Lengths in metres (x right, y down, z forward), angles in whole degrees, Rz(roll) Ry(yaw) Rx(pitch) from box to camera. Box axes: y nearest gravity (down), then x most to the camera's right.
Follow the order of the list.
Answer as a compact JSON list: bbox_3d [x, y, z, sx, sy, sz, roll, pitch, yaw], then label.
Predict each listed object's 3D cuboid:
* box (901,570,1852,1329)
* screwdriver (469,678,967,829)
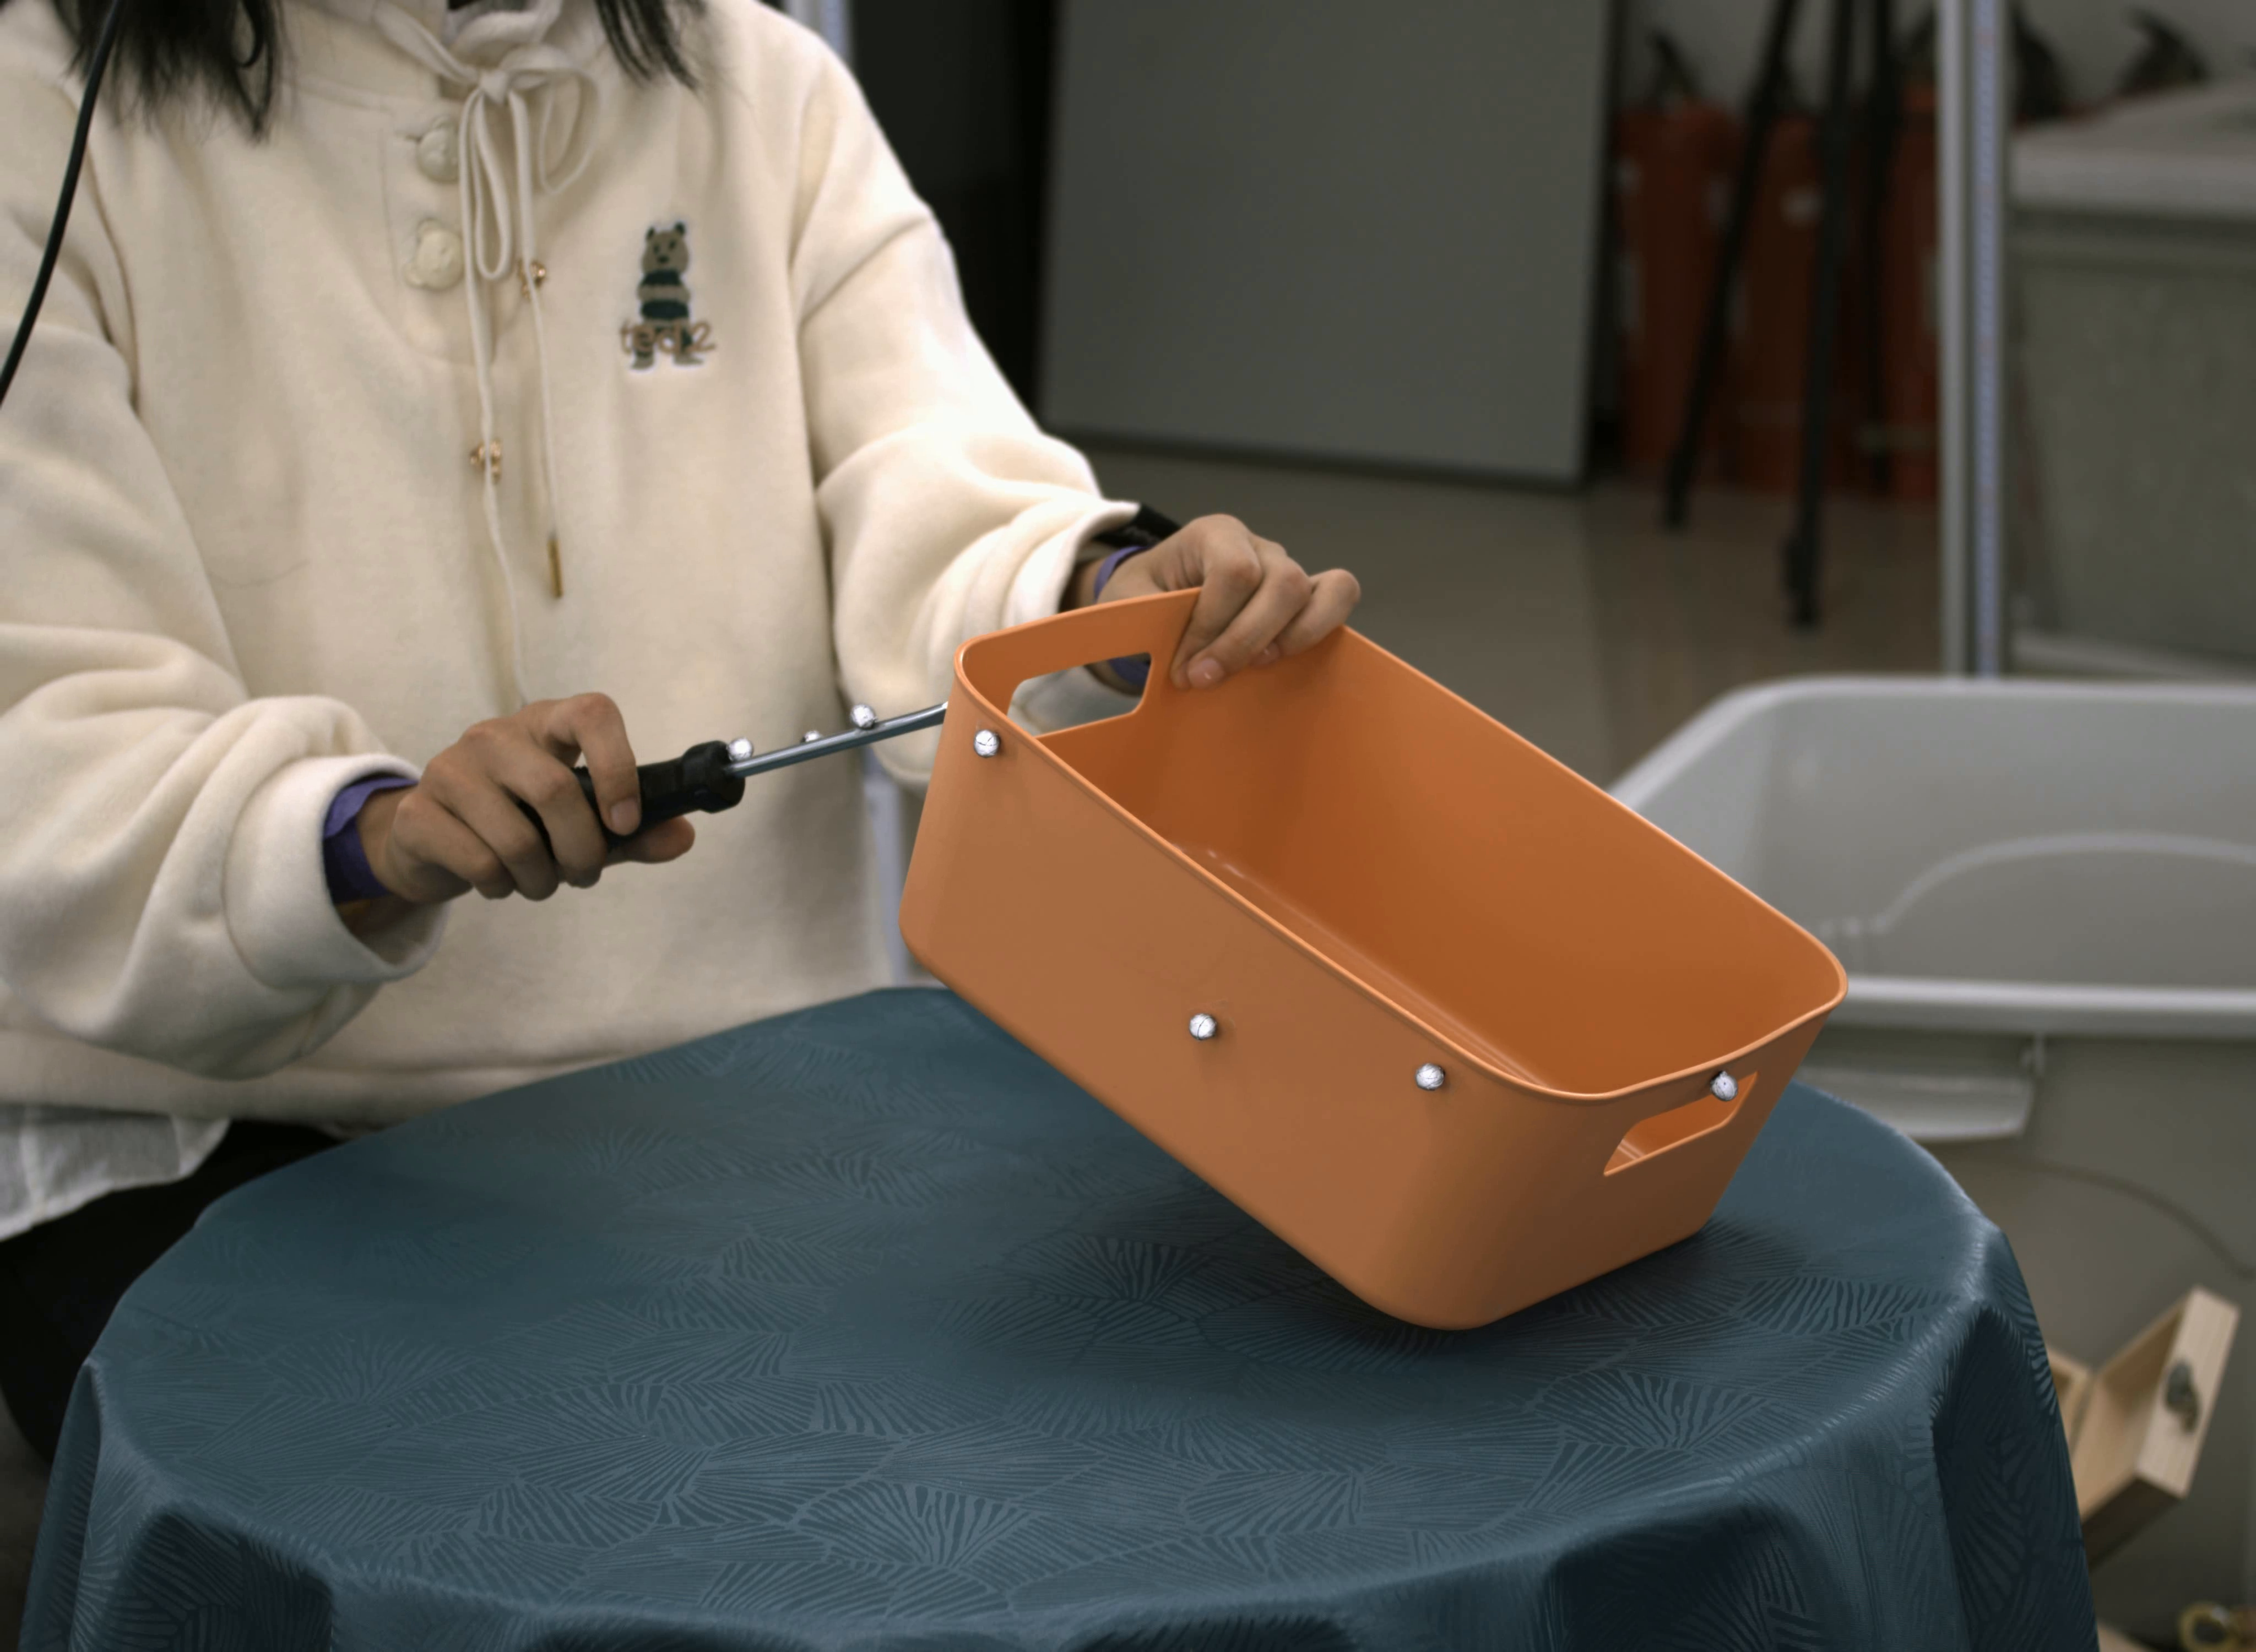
[{"bbox_3d":[0.070,0.037,1.680,0.275,0.103,0.195,36,31,29],"label":"box"},{"bbox_3d":[-0.133,-0.024,1.765,0.198,0.032,0.031,-8,9,30],"label":"screwdriver"}]
